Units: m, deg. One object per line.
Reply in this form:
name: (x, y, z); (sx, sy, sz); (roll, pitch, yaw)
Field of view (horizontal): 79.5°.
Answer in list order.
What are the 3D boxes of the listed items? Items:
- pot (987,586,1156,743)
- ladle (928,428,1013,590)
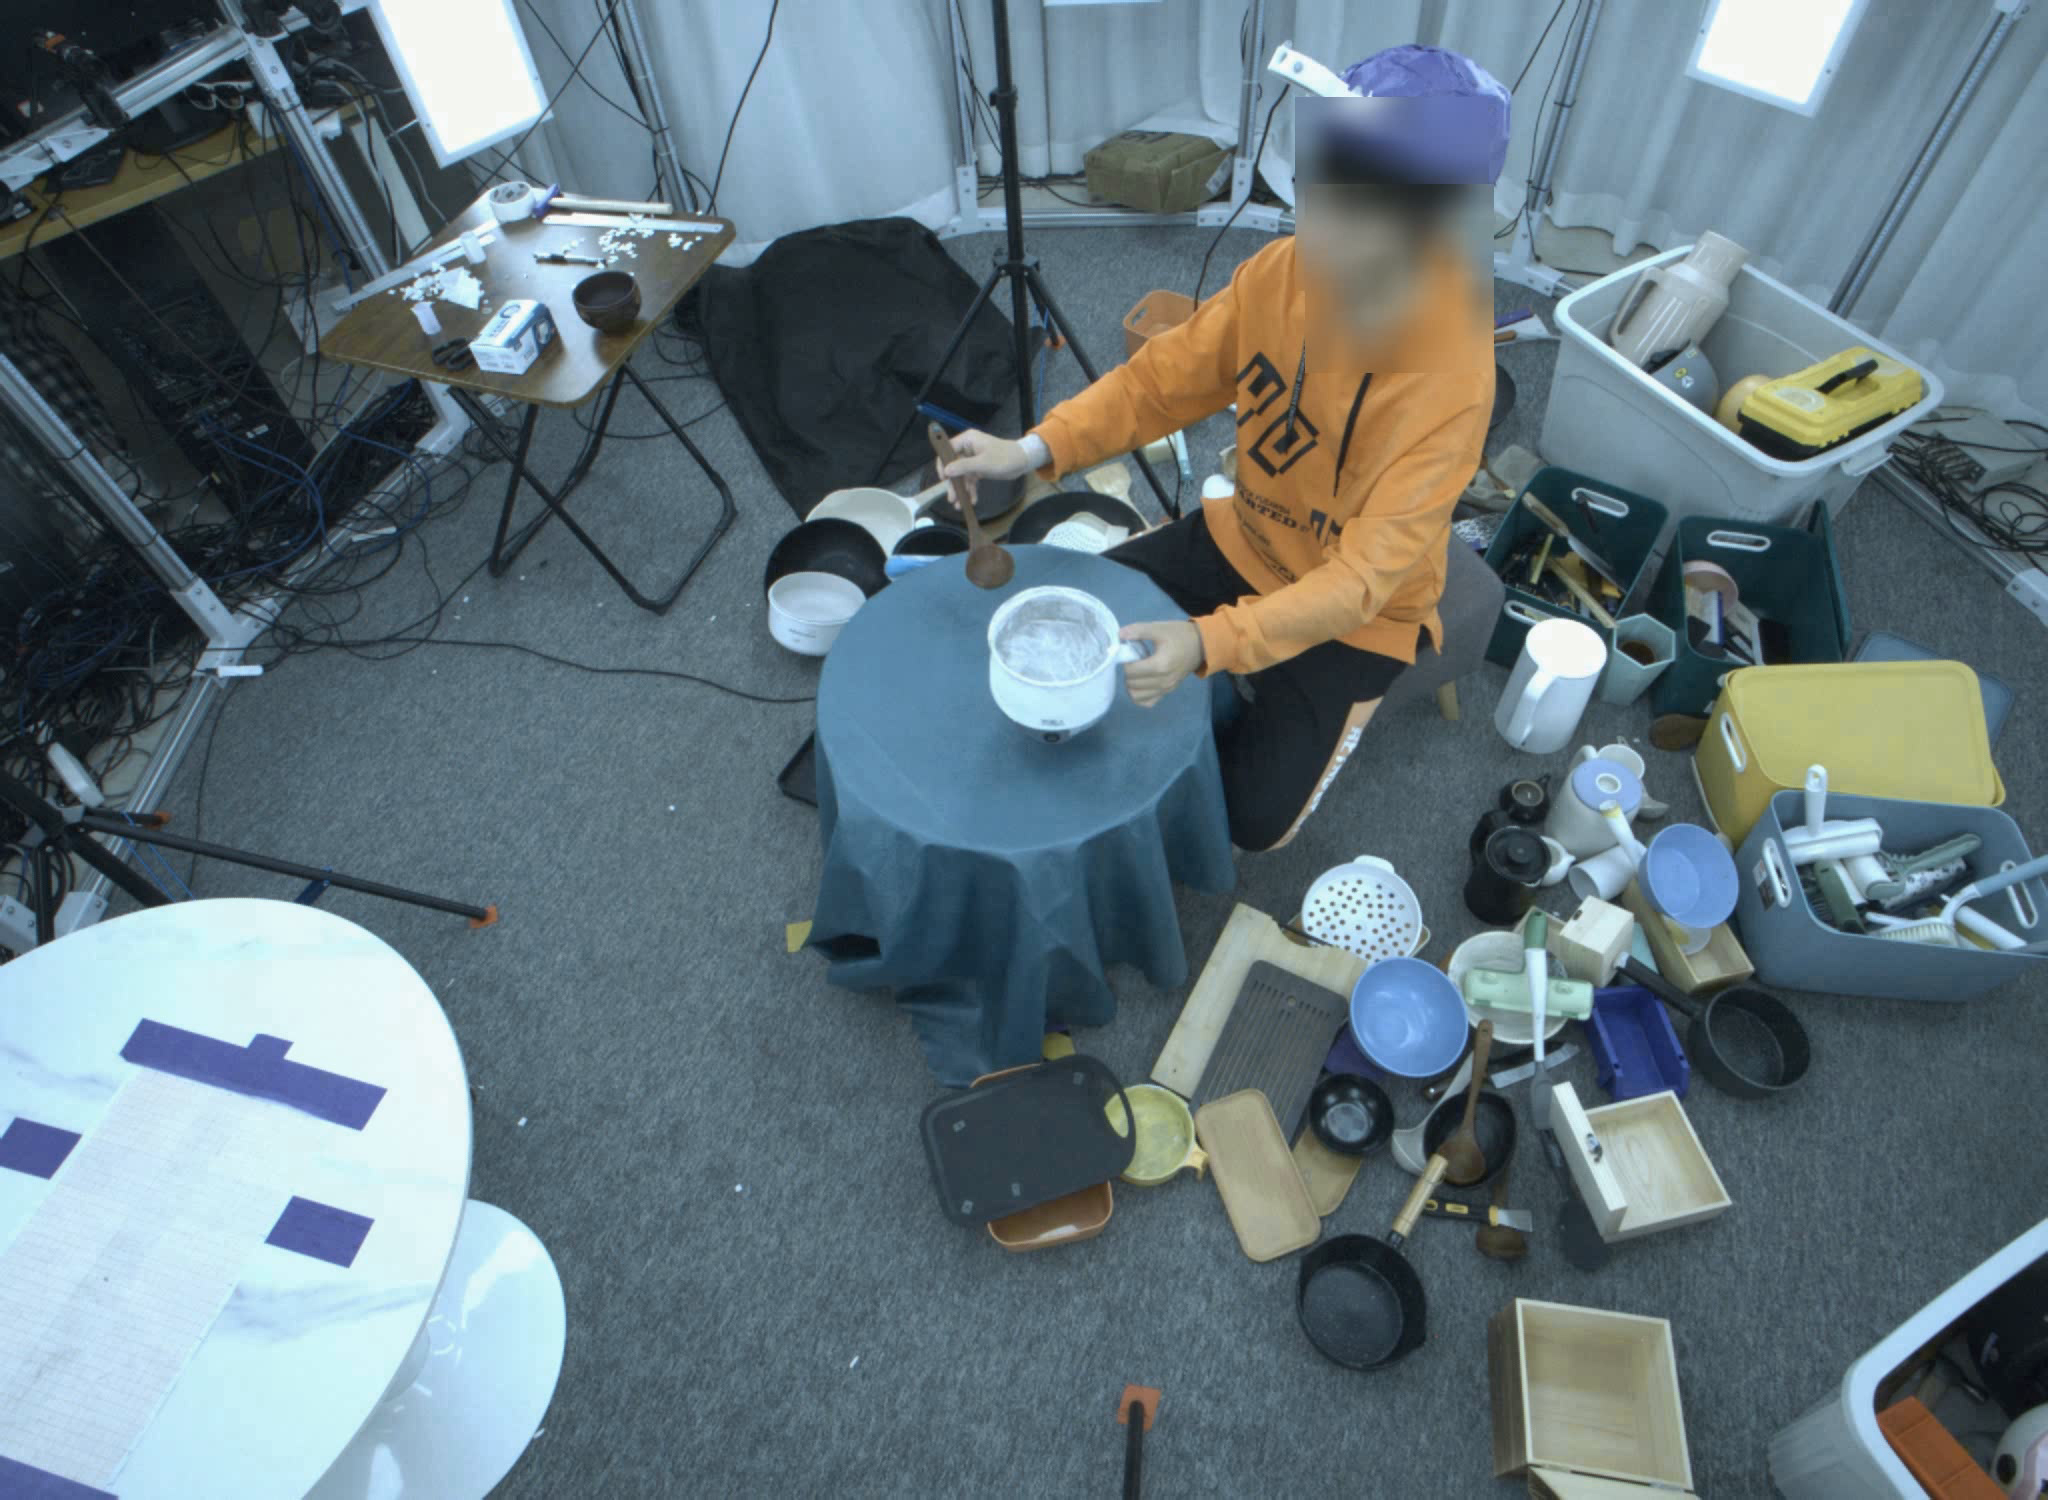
pot: (0.066, -0.116, 1.690); (0.234, 0.138, 0.177); (0, 57, -1)
ladle: (-0.088, -0.364, 1.815); (0.077, 0.262, 0.064); (-24, 14, -15)
